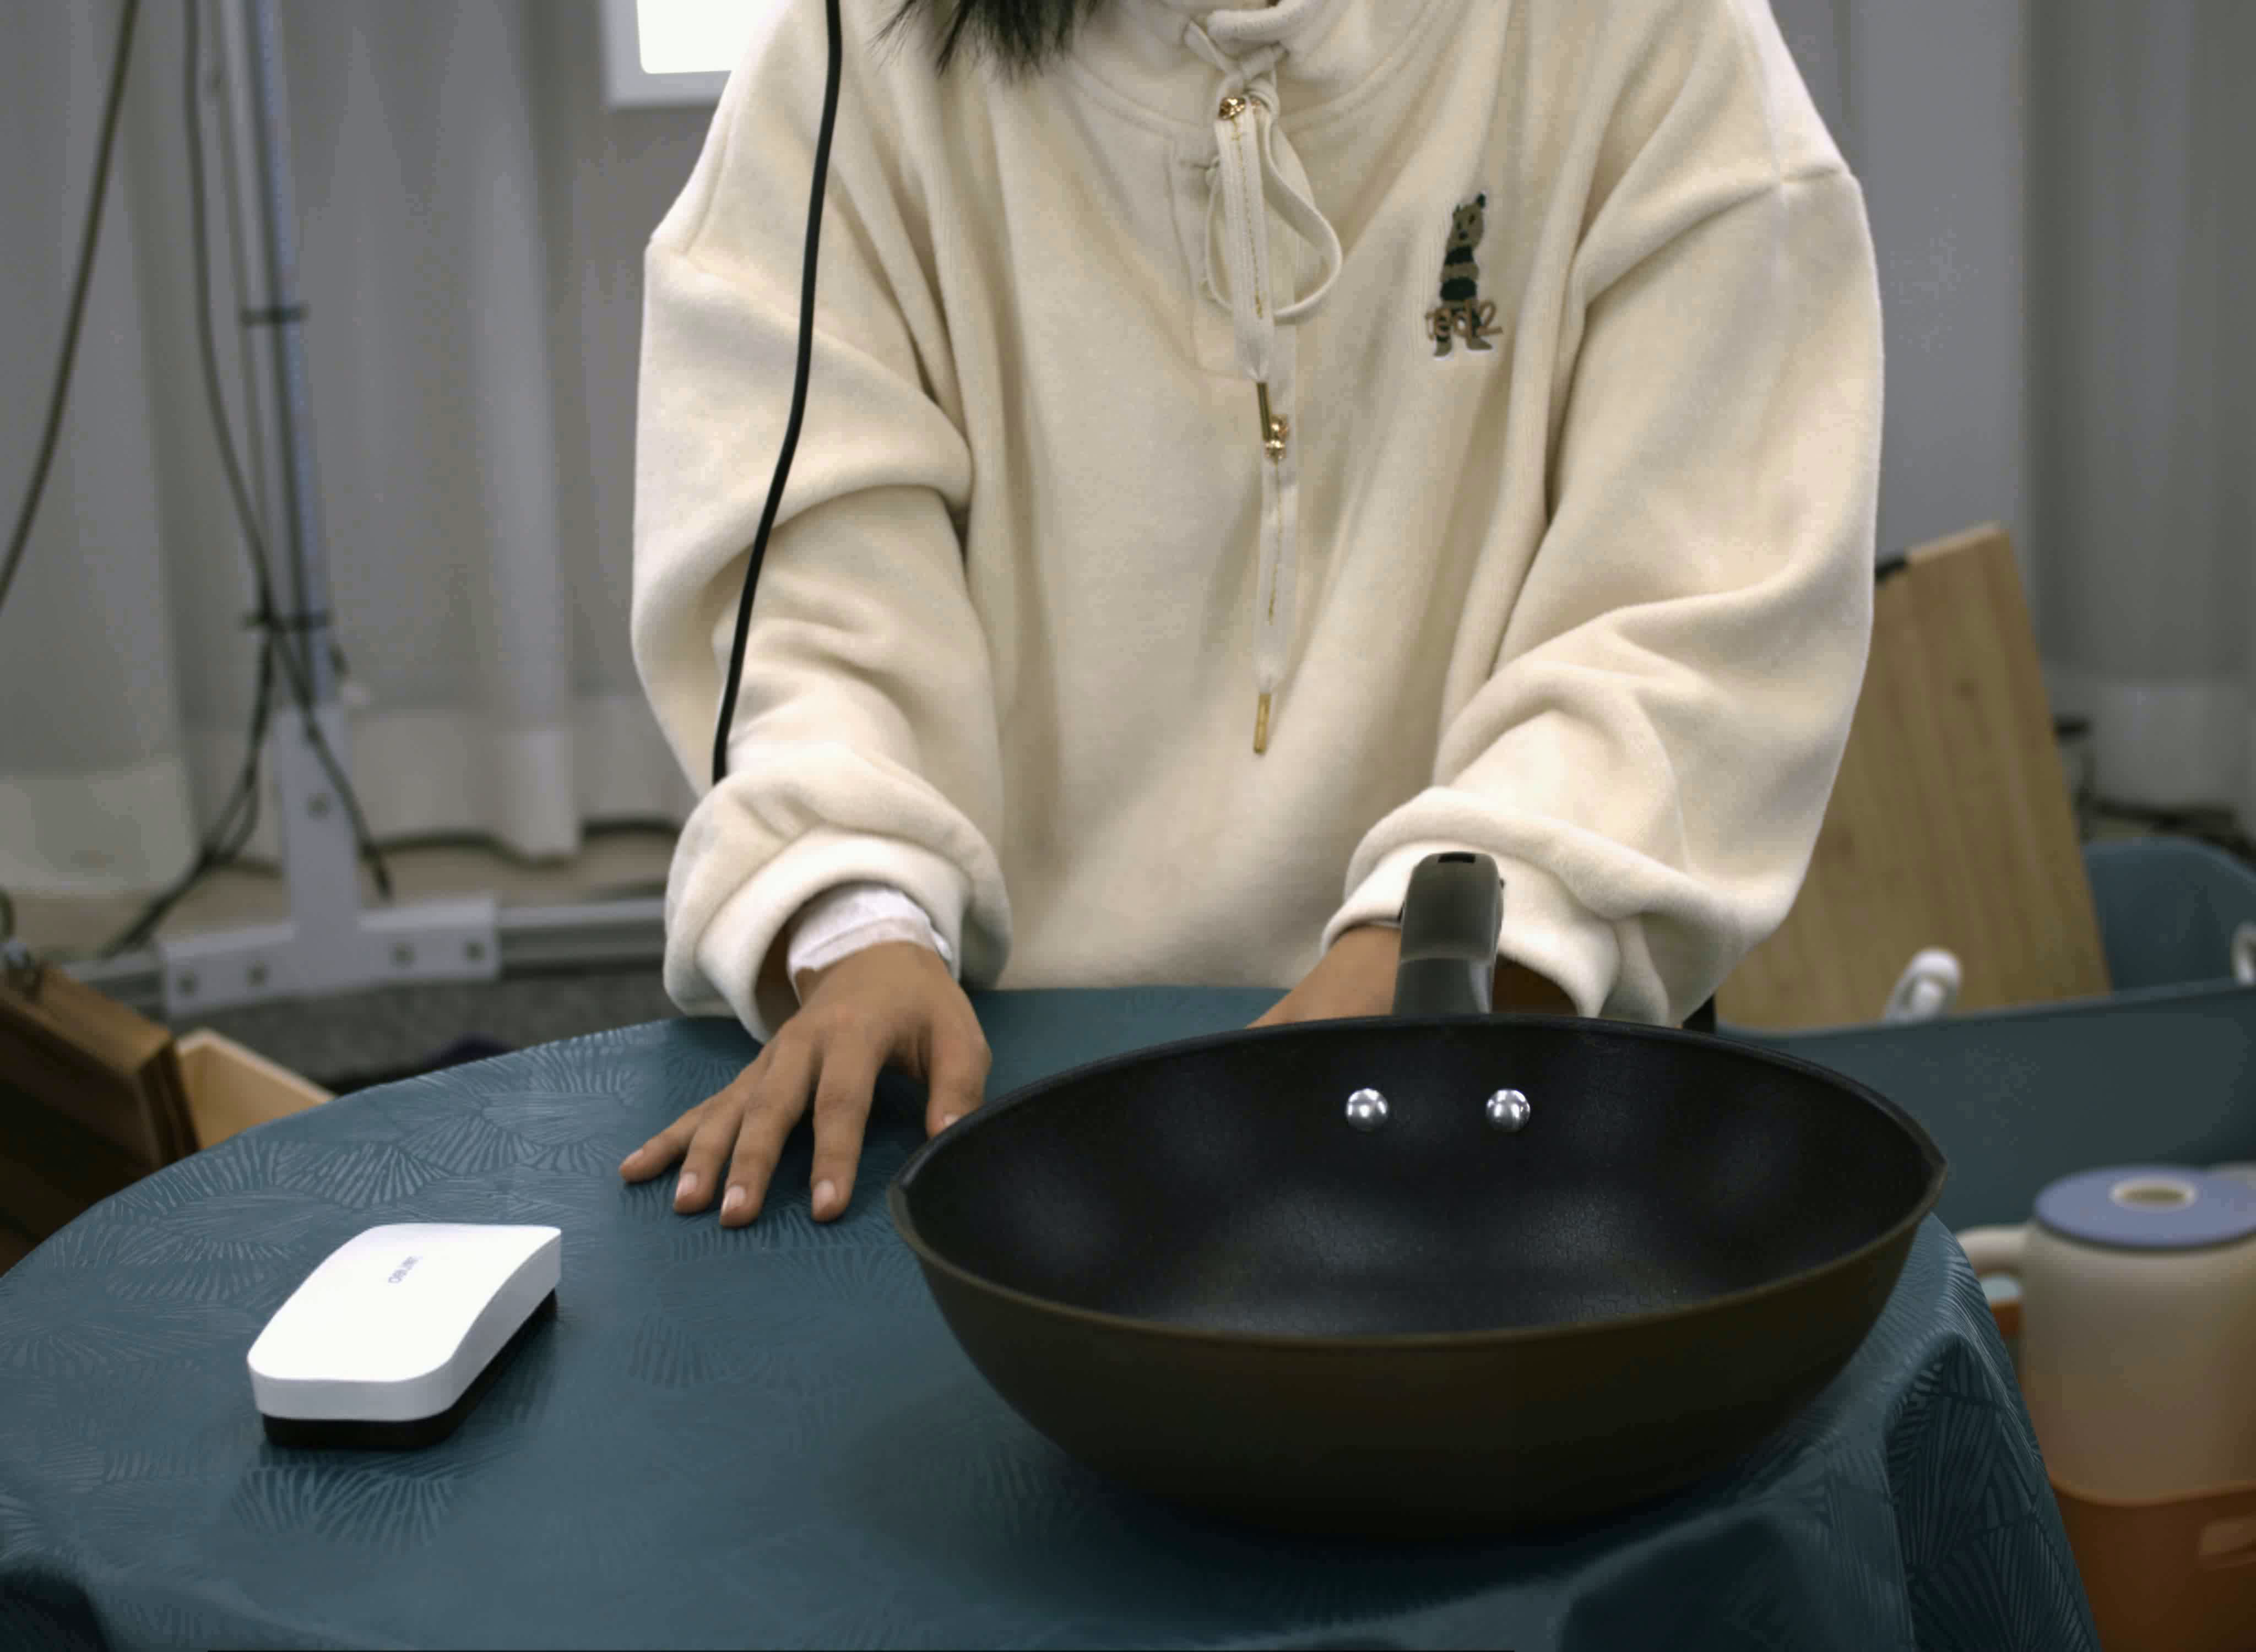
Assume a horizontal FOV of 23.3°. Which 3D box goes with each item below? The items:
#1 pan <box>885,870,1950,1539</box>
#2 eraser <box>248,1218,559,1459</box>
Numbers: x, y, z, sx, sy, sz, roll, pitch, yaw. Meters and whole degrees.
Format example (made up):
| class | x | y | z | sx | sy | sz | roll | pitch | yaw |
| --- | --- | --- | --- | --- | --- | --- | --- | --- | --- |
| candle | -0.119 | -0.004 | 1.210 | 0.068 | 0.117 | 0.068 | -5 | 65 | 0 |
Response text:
| class | x | y | z | sx | sy | sz | roll | pitch | yaw |
| --- | --- | --- | --- | --- | --- | --- | --- | --- | --- |
| pan | 0.088 | 0.106 | 1.571 | 0.287 | 0.086 | 0.466 | -1 | 14 | 7 |
| eraser | -0.207 | 0.144 | 1.585 | 0.063 | 0.034 | 0.132 | 3 | 16 | 11 |
